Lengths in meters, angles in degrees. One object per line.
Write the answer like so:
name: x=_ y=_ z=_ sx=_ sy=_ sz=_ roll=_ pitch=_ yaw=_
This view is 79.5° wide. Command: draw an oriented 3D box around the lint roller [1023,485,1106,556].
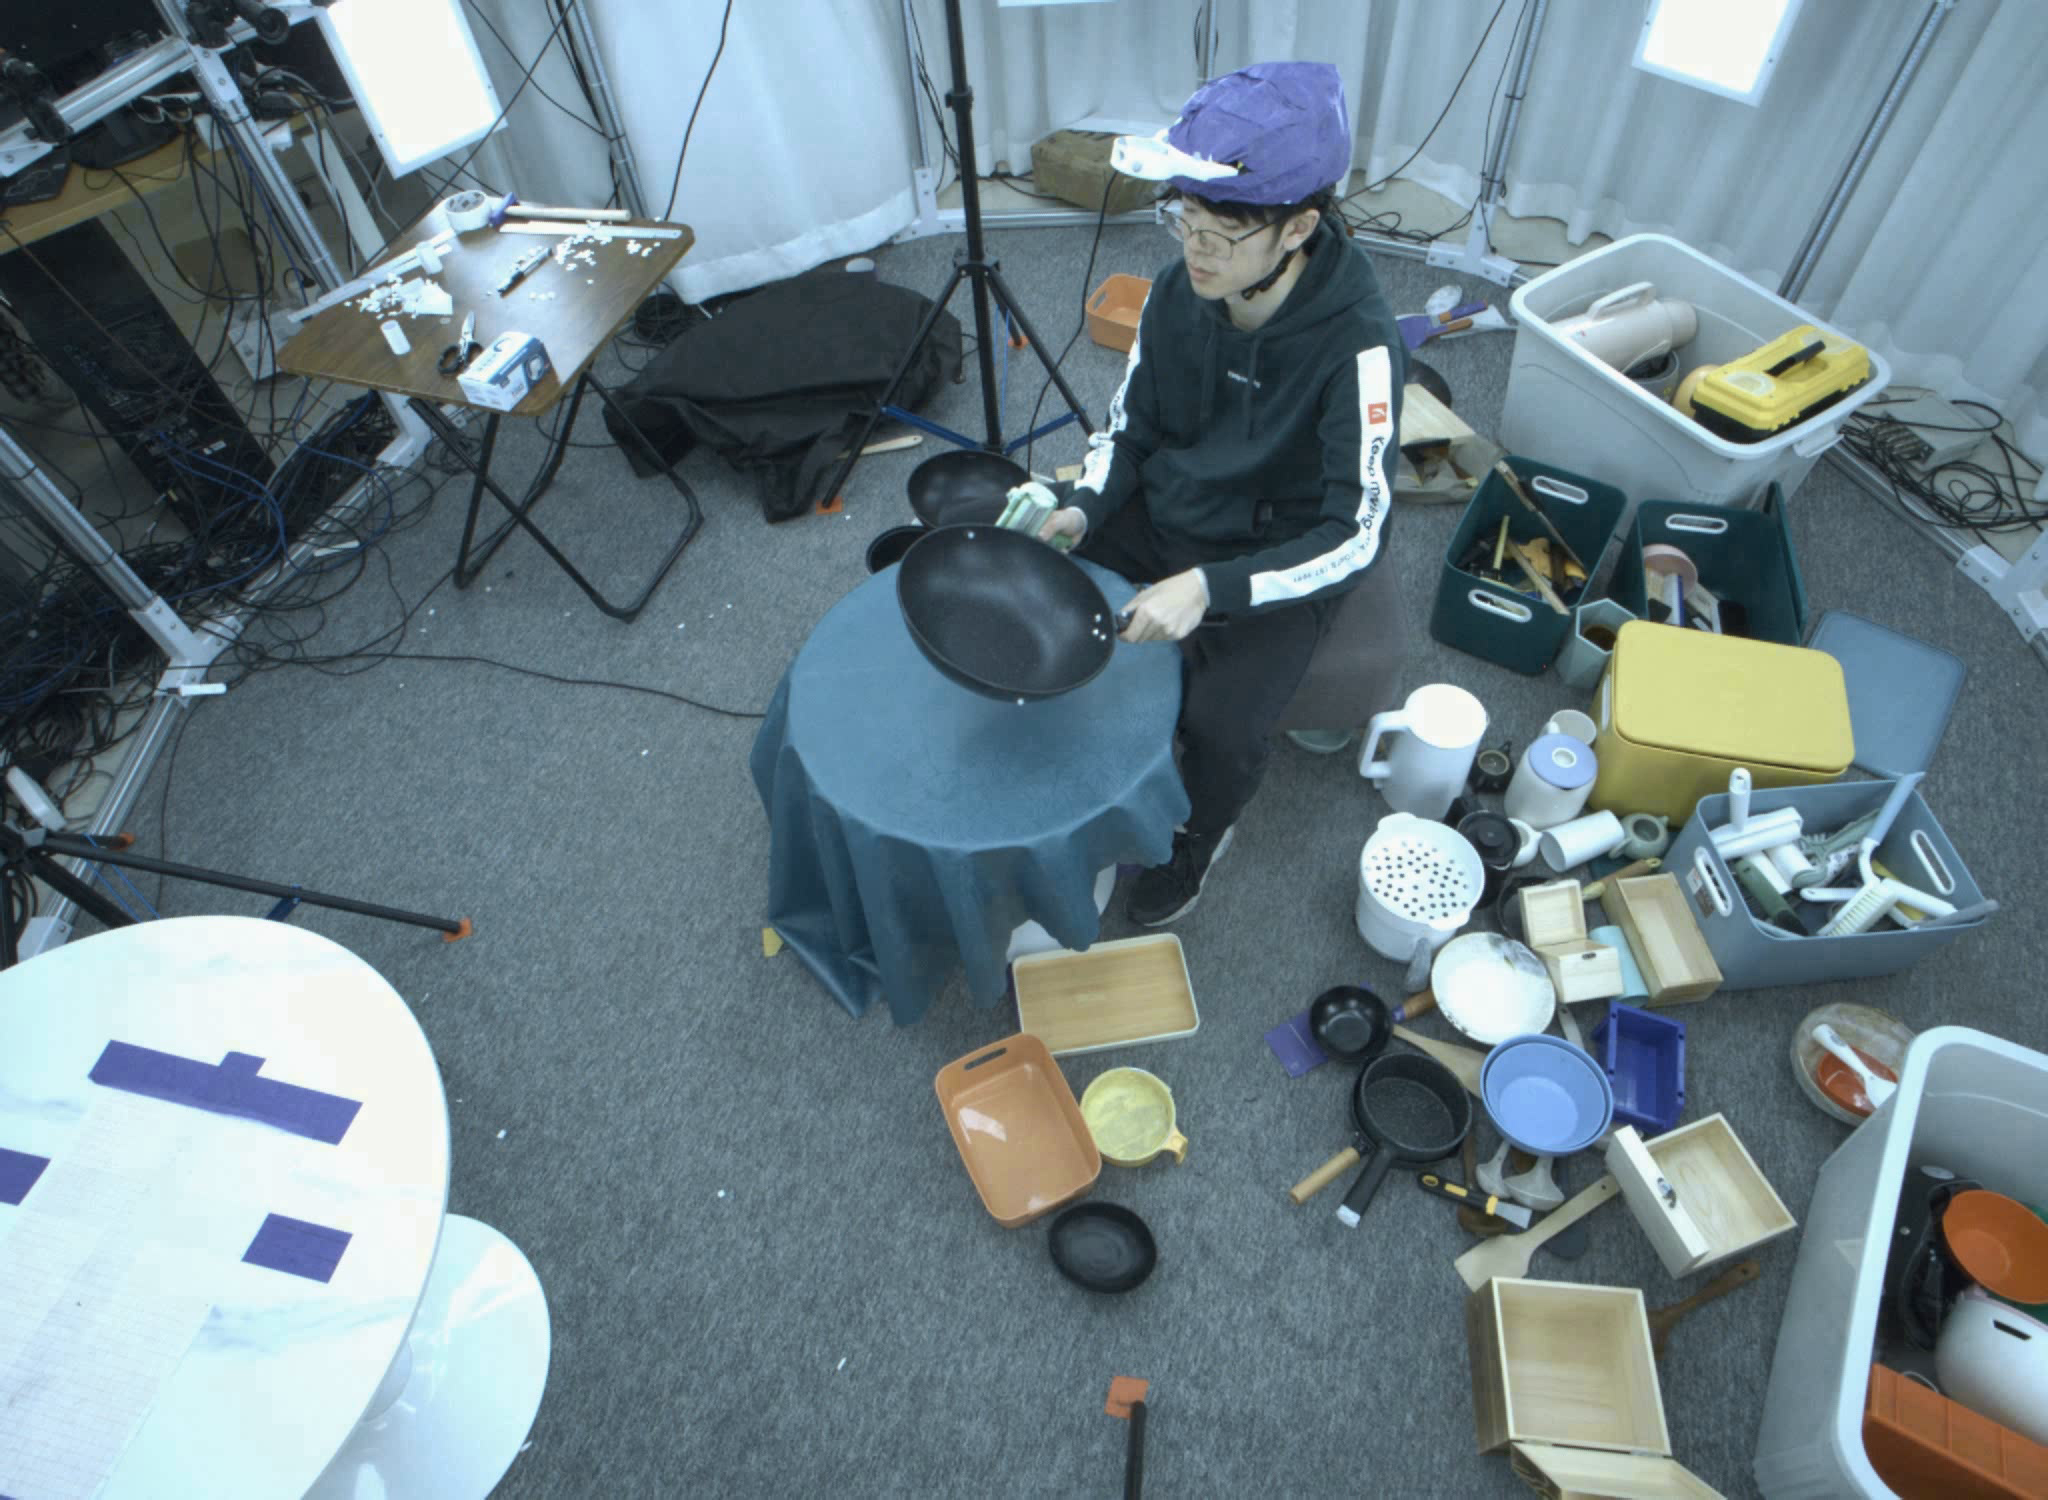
lint roller: x=0.050 y=-0.320 z=1.843 sx=0.081 sy=0.197 sz=0.186 roll=48 pitch=35 yaw=14

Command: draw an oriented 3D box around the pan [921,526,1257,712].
pan: x=0.085 y=-0.161 z=1.682 sx=0.484 sy=0.111 sz=0.306 roll=5 pitch=54 yaw=-20
